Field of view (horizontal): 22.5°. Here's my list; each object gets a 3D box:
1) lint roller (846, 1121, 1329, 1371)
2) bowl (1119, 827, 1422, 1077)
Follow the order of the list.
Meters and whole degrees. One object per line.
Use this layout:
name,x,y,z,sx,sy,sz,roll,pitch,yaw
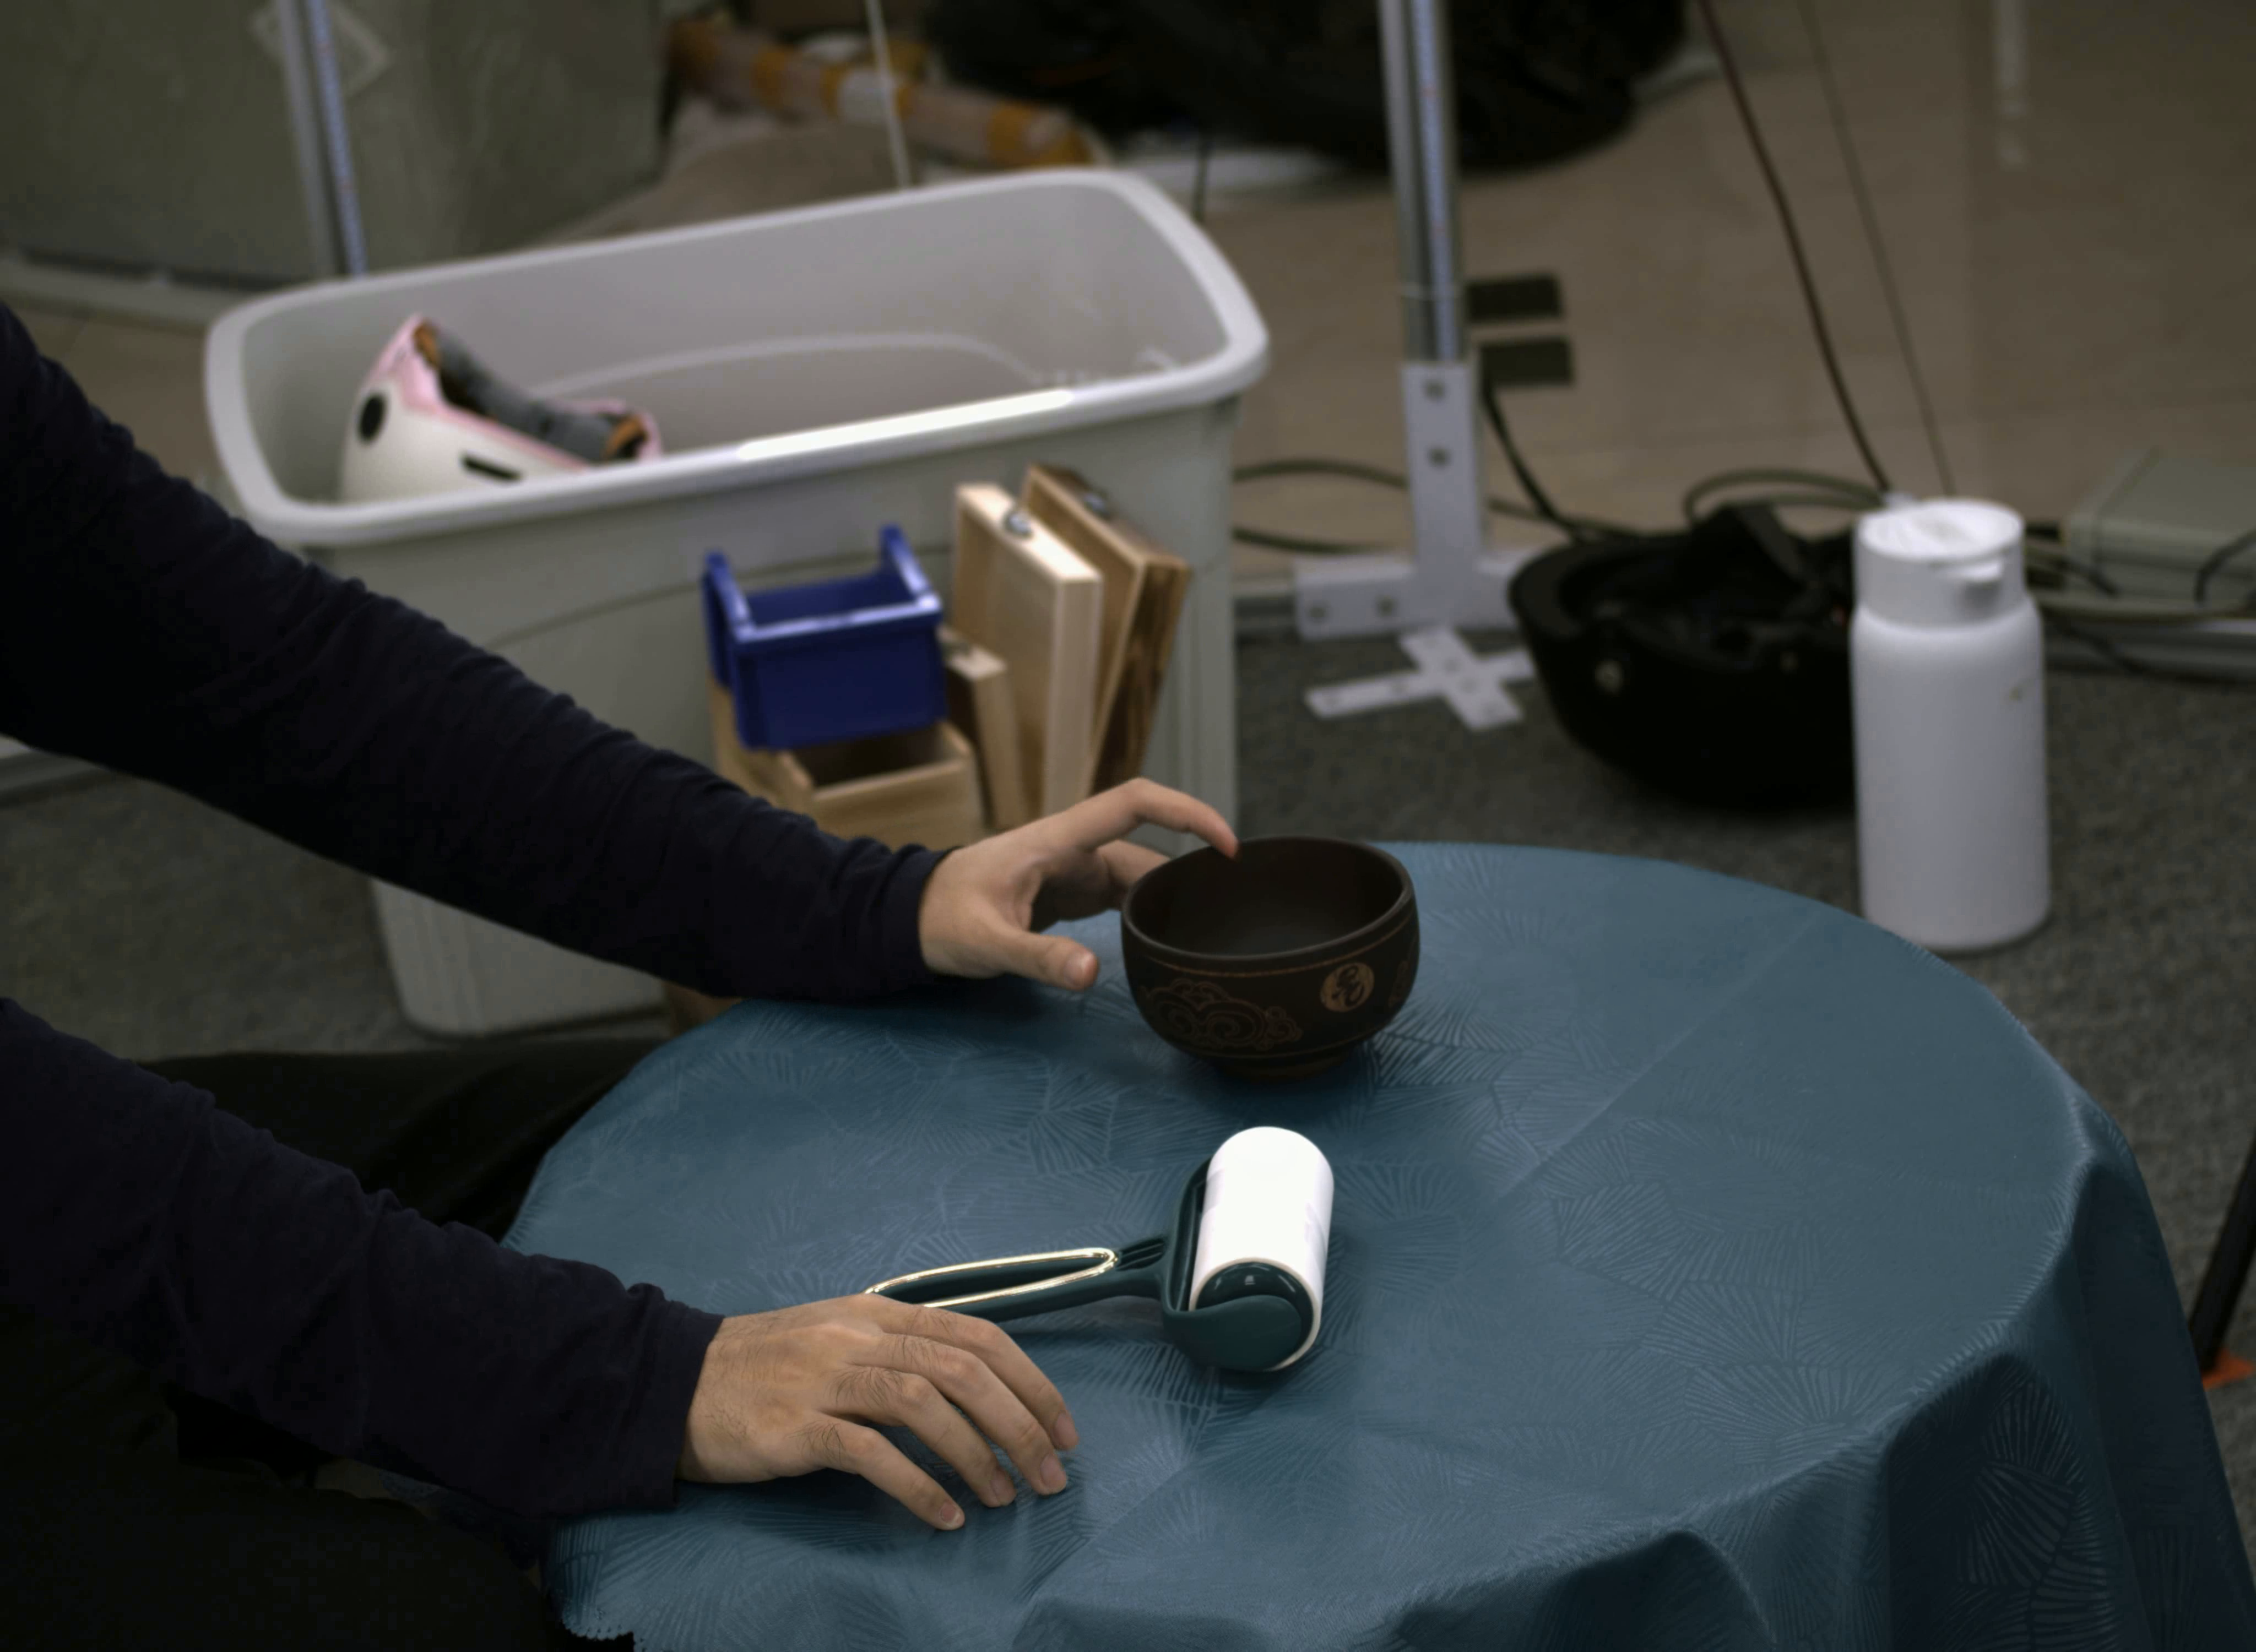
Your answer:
lint roller,-0.018,0.160,2.062,0.180,0.049,0.132,-6,25,7
bowl,0.058,0.055,2.230,0.118,0.071,0.116,-7,26,4
